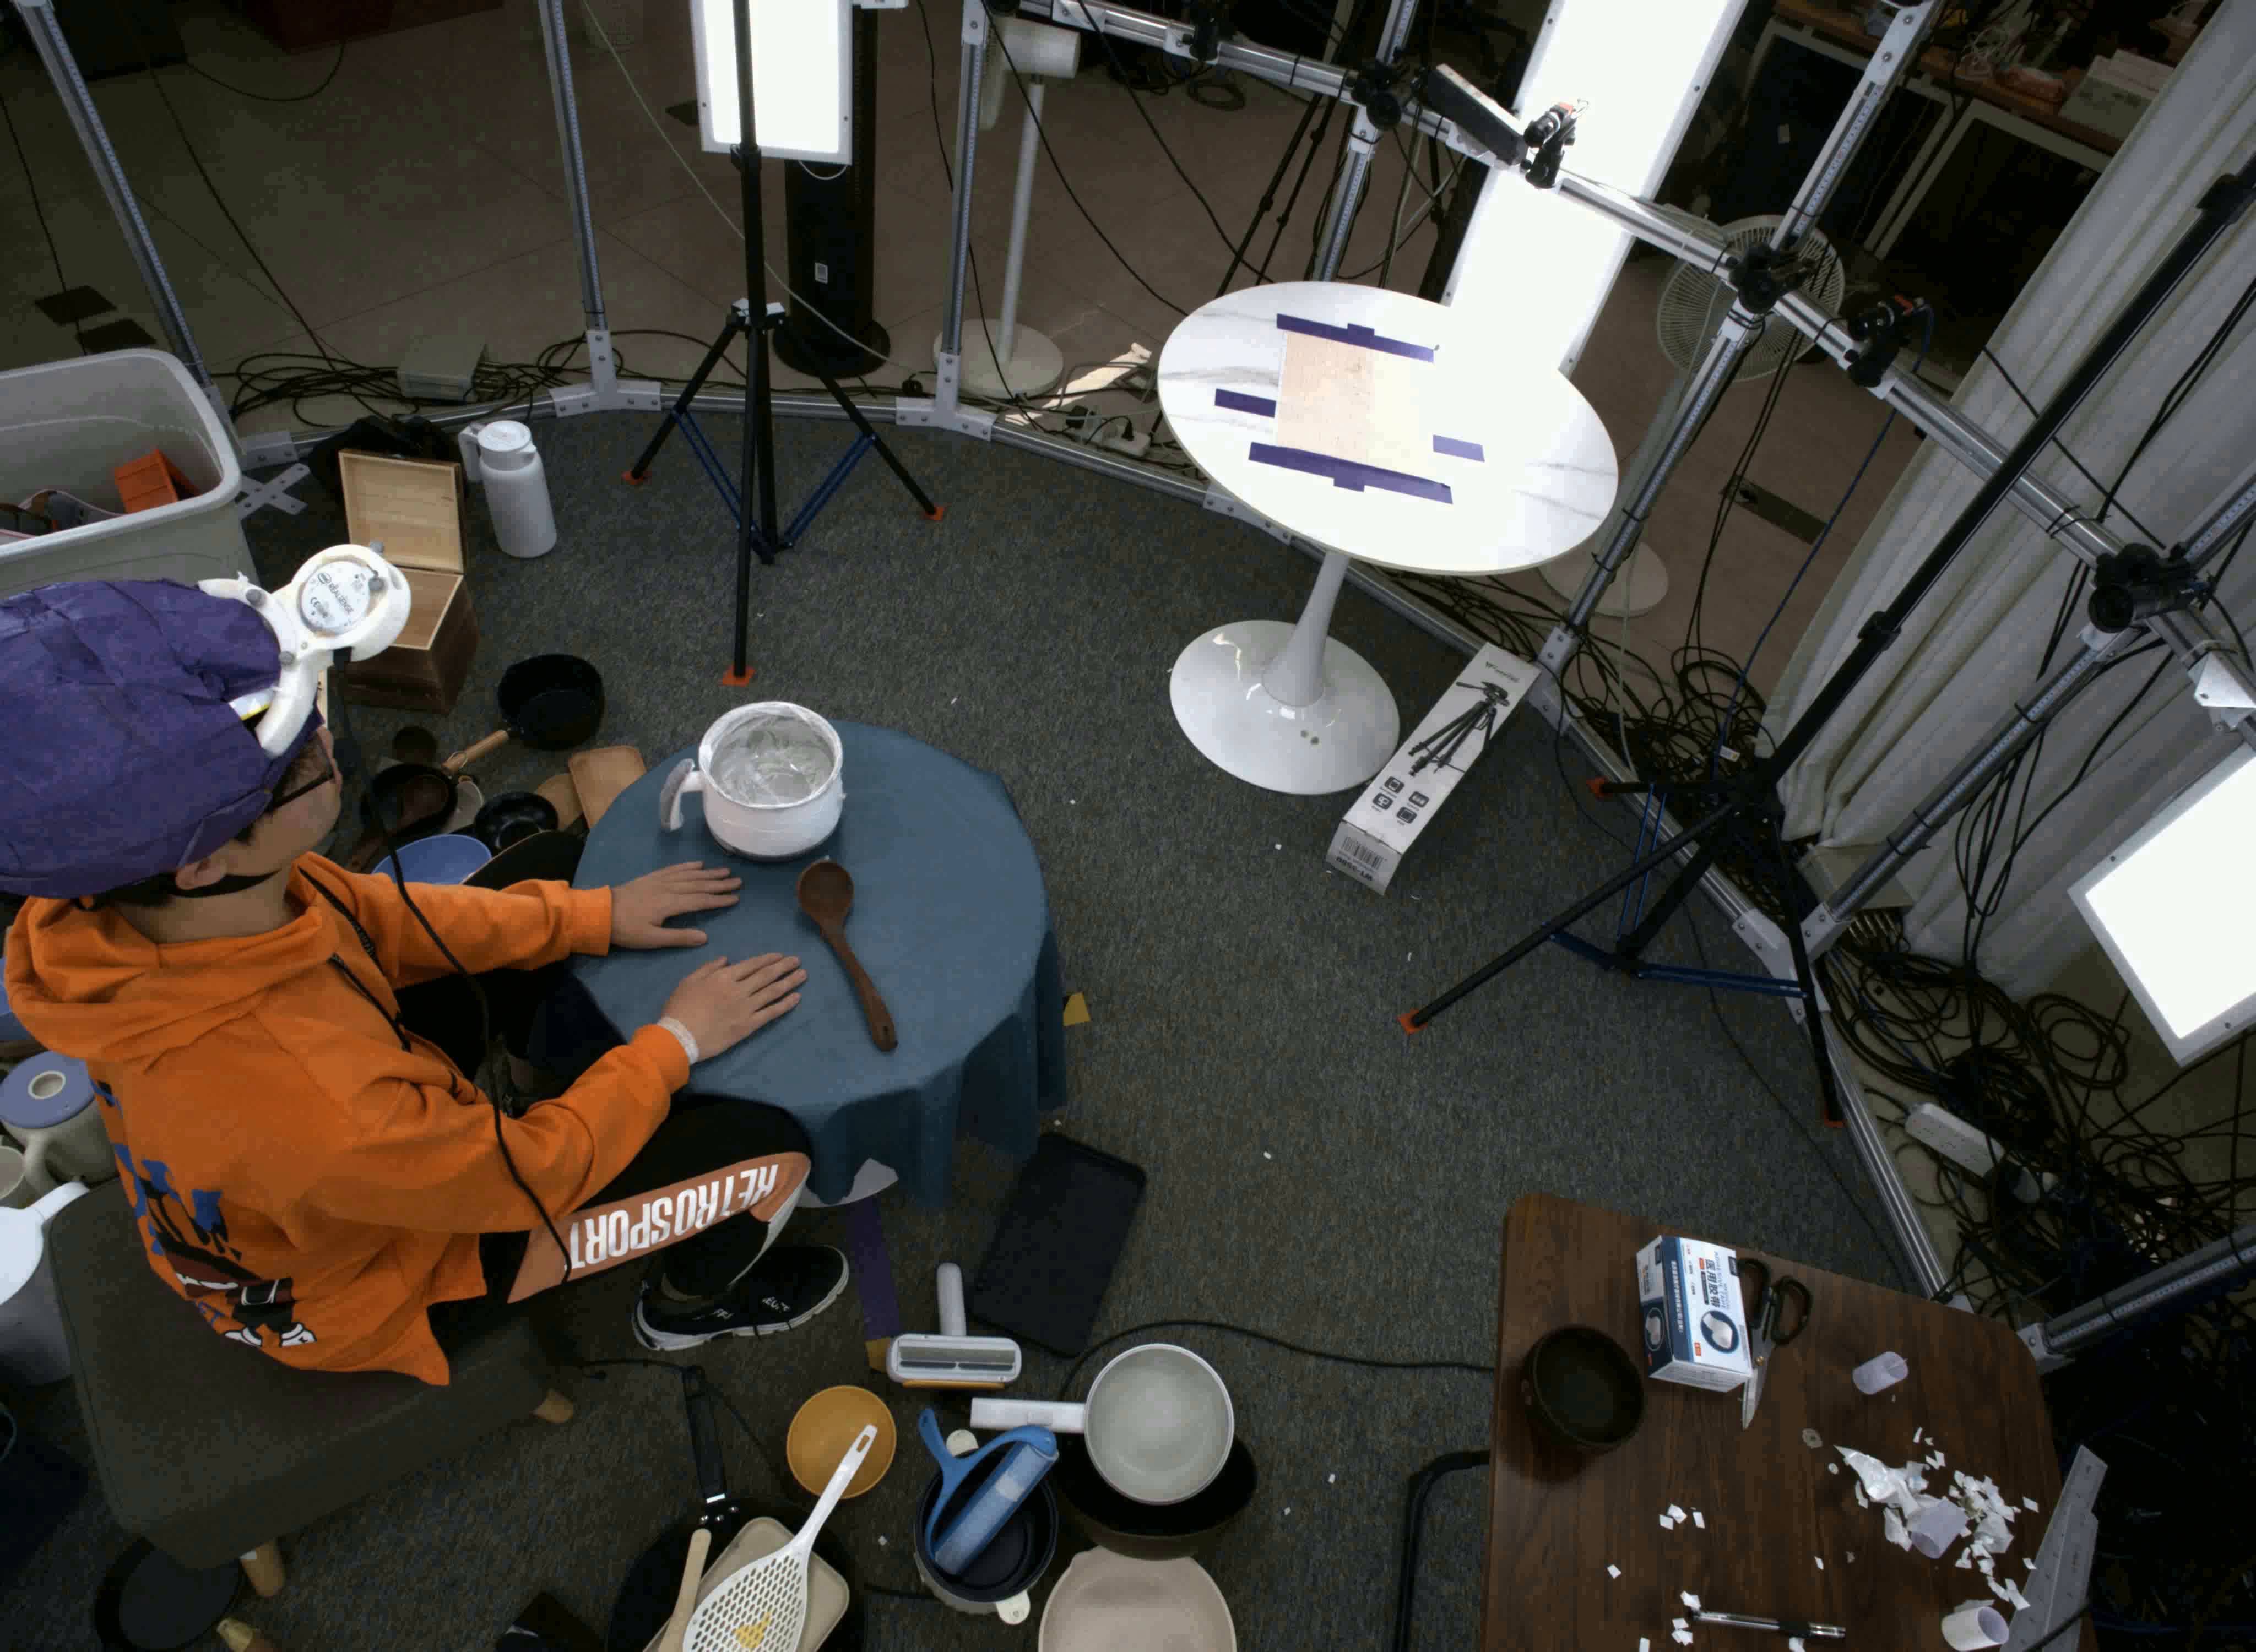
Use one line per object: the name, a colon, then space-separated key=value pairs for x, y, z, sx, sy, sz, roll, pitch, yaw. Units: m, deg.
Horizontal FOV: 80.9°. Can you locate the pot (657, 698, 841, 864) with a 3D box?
pot: x=-0.483 y=-0.049 z=1.646 sx=0.235 sy=0.139 sz=0.174 roll=-10 pitch=56 yaw=-21

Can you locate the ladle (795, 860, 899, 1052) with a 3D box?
ladle: x=-0.334 y=0.152 z=1.582 sx=0.077 sy=0.066 sz=0.253 roll=-14 pitch=58 yaw=-32
